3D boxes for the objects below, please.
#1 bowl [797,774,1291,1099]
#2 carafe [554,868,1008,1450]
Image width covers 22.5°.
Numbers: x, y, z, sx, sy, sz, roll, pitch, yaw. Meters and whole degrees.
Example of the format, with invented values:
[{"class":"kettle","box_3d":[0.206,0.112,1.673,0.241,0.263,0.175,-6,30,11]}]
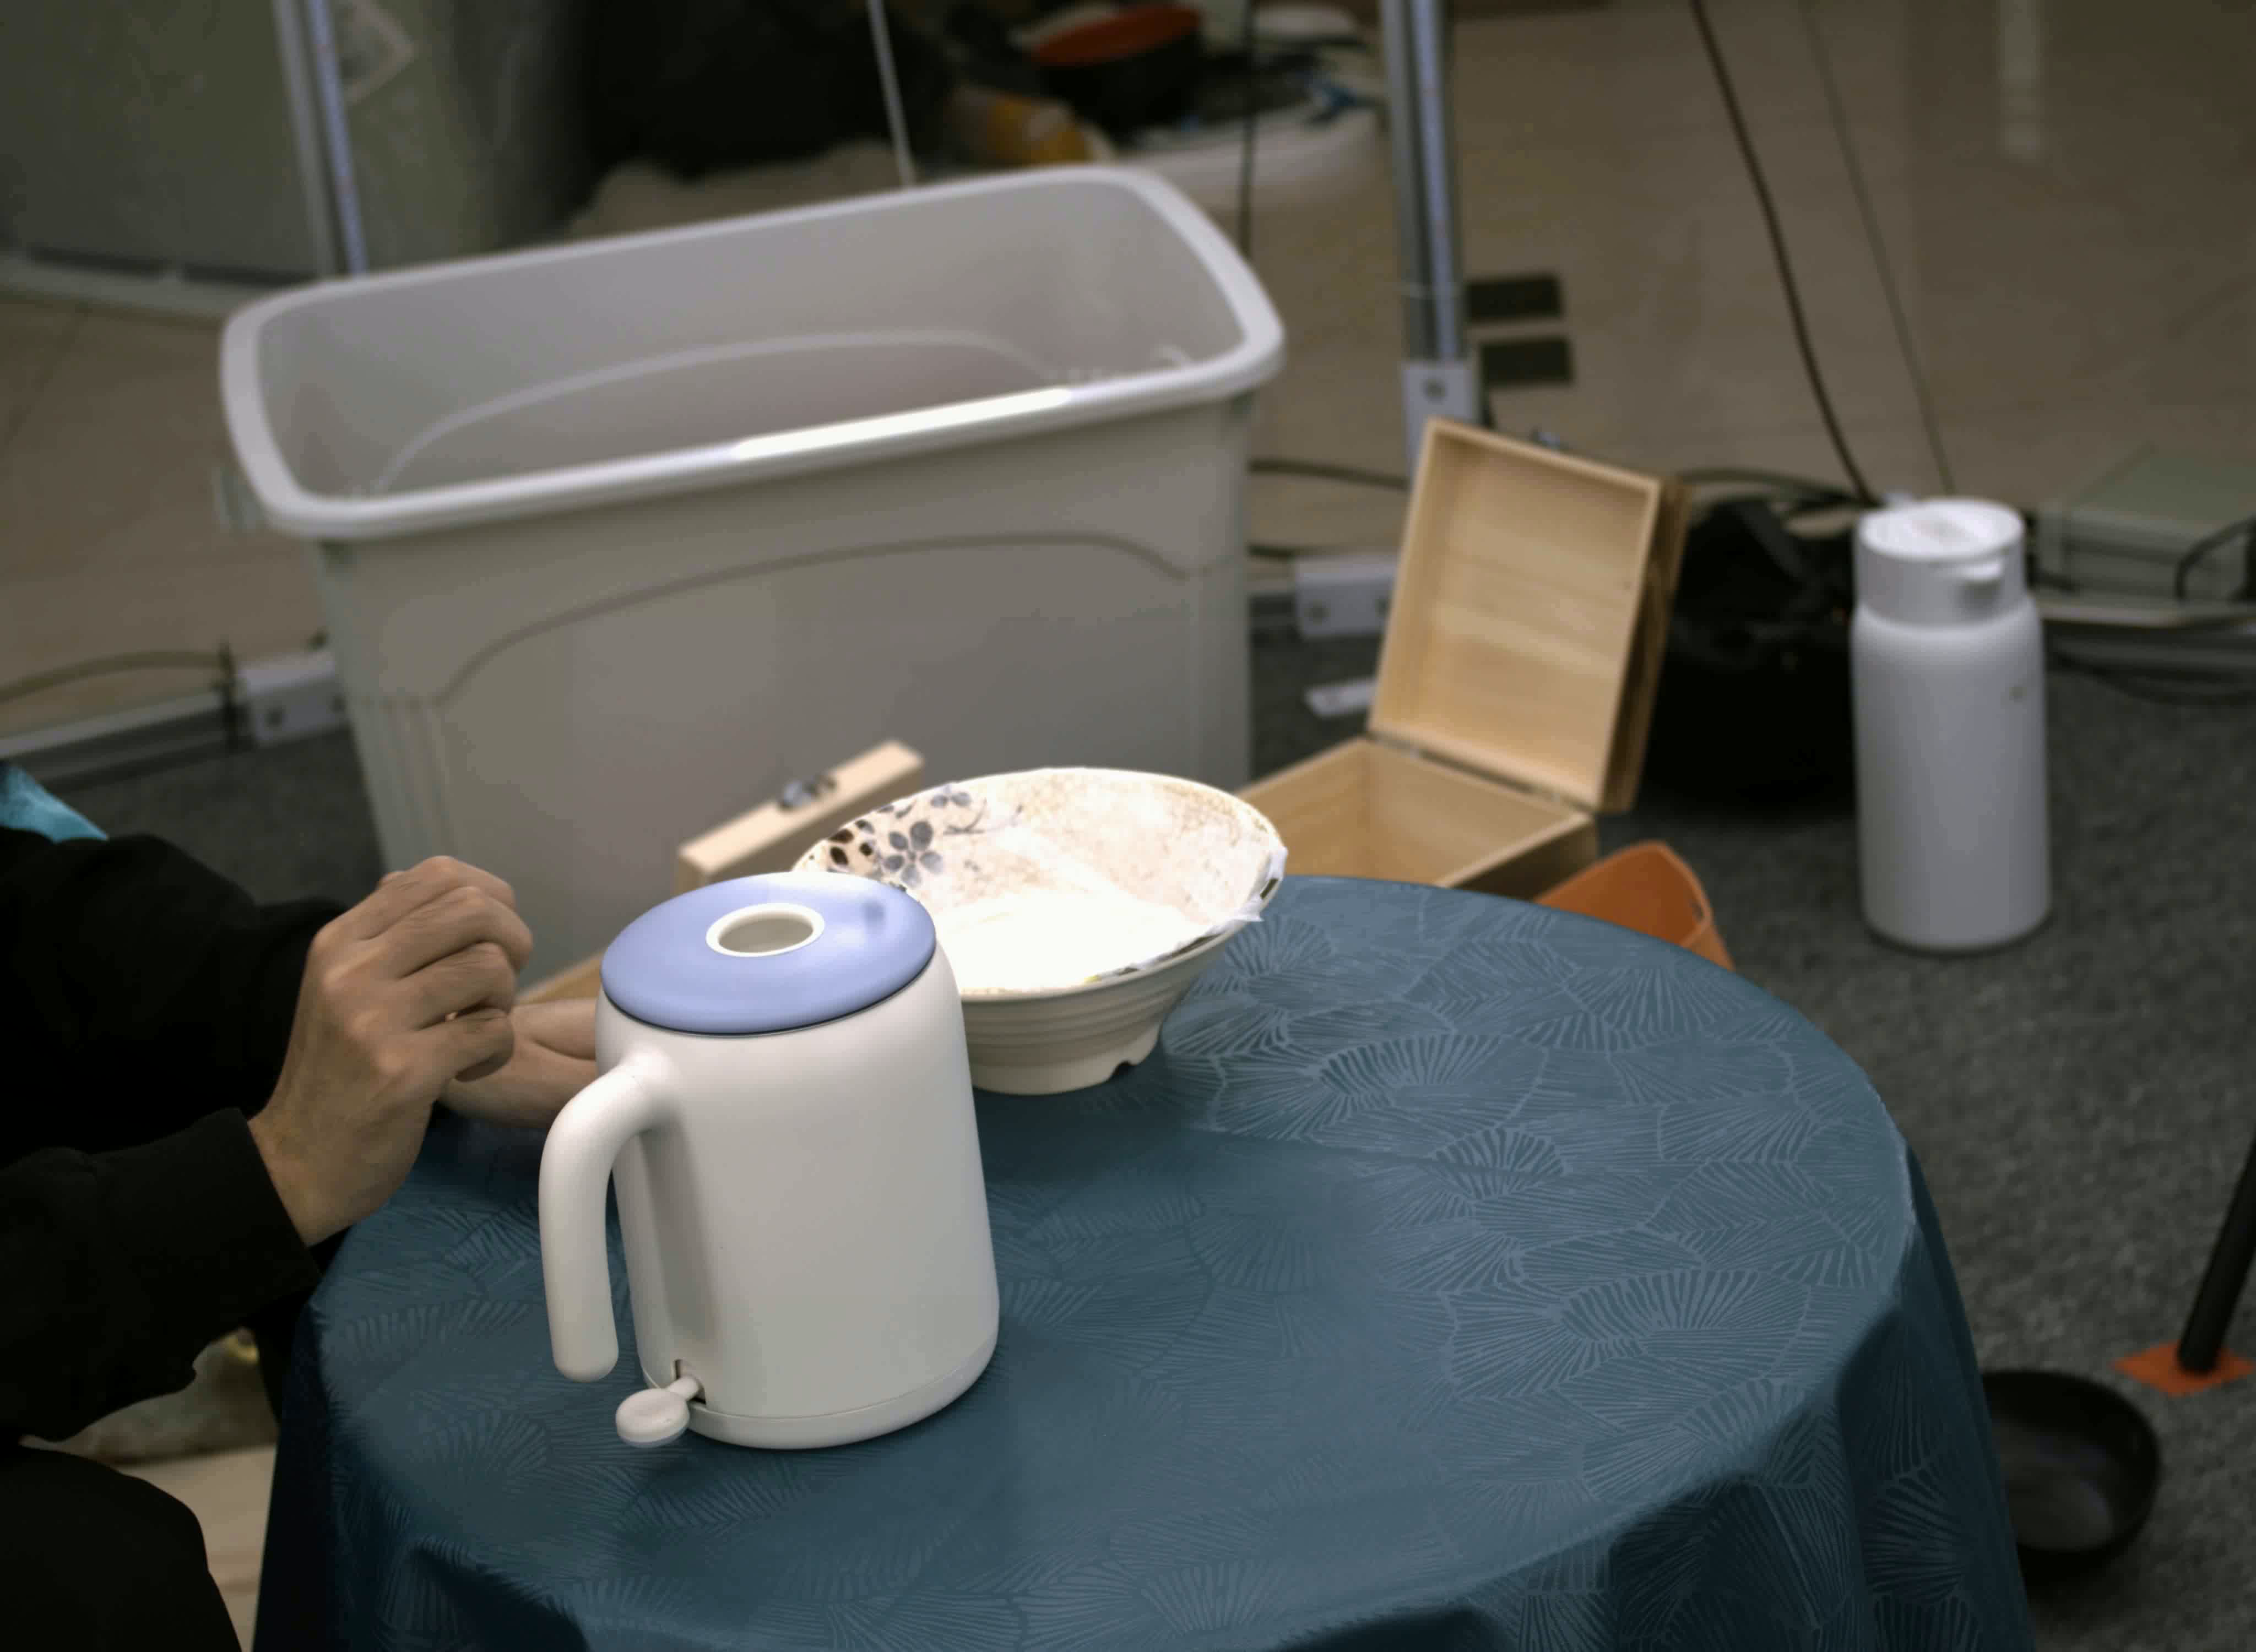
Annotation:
[{"class":"bowl","box_3d":[-0.032,0.054,2.243,0.204,0.079,0.201,-7,24,3]},{"class":"carafe","box_3d":[-0.132,0.128,1.997,0.131,0.185,0.189,14,35,38]}]
